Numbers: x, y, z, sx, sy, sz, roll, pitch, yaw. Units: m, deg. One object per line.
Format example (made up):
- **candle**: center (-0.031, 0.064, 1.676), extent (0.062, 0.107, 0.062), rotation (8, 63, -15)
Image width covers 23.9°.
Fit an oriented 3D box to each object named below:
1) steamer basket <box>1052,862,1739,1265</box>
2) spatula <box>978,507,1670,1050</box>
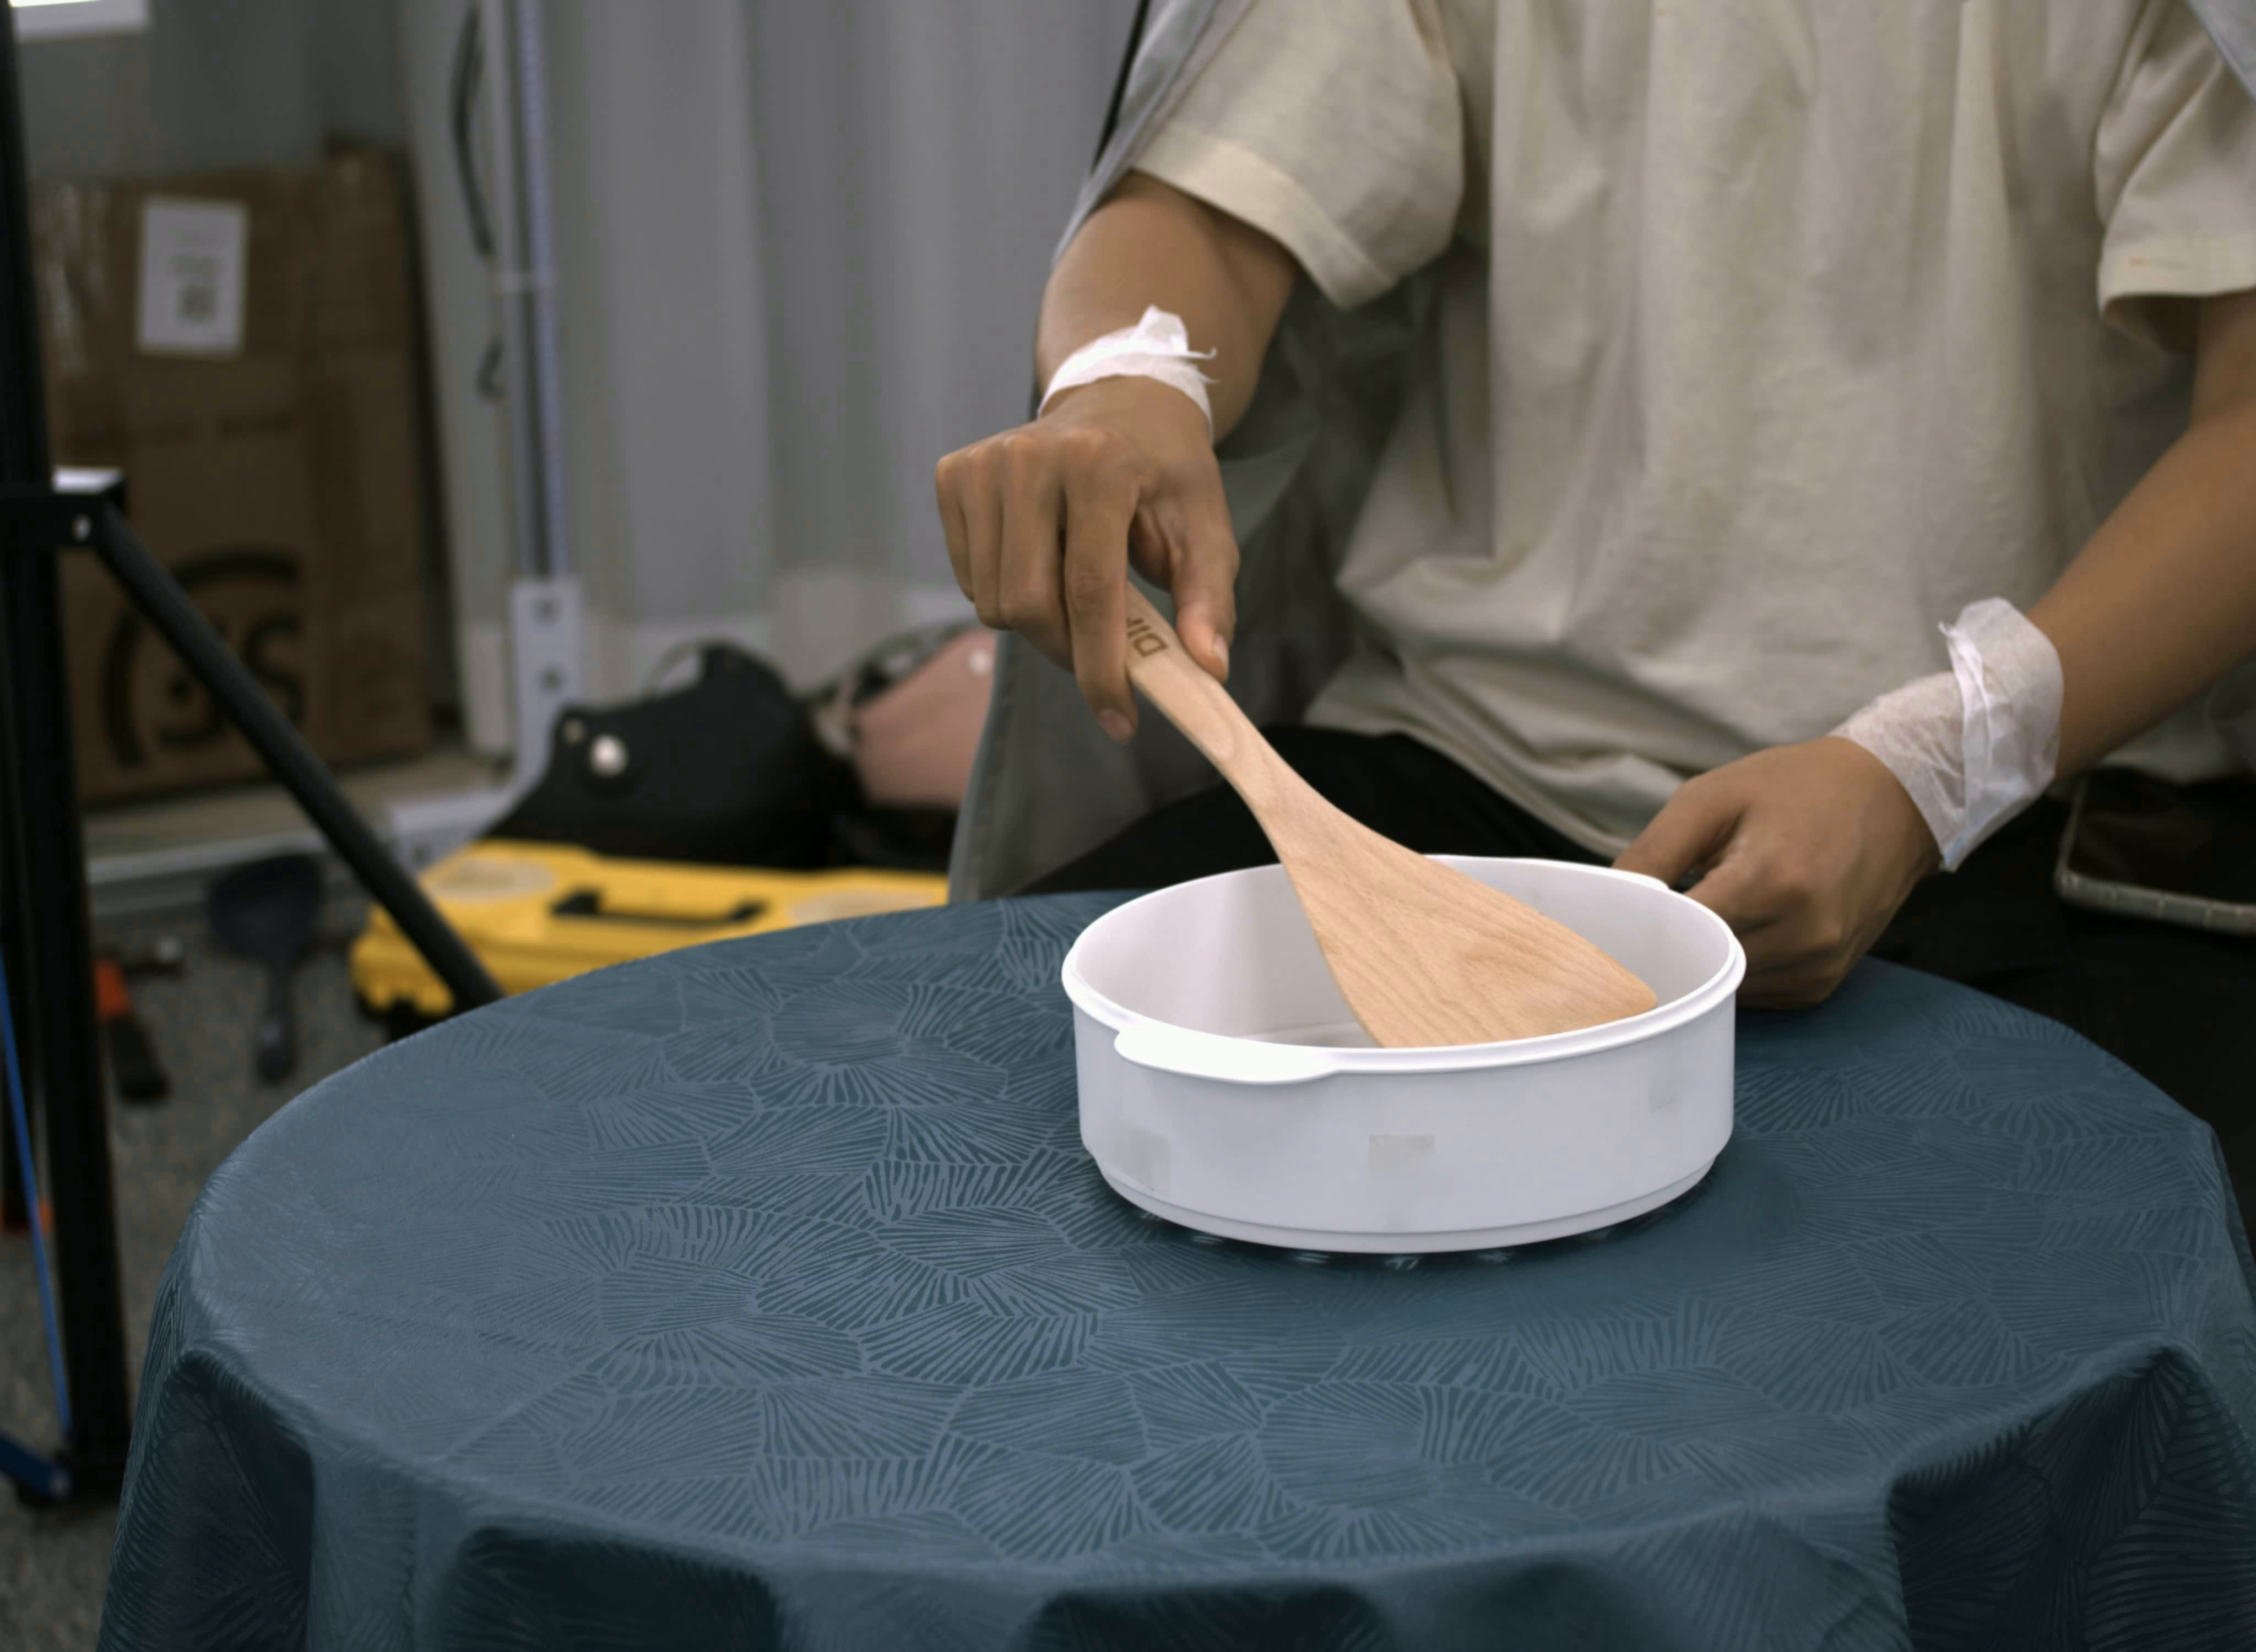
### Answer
- **steamer basket**: center (0.078, 0.070, 1.559), extent (0.206, 0.069, 0.226), rotation (10, 19, 34)
- **spatula**: center (0.047, -0.014, 1.624), extent (0.078, 0.016, 0.335), rotation (-23, 45, -23)
